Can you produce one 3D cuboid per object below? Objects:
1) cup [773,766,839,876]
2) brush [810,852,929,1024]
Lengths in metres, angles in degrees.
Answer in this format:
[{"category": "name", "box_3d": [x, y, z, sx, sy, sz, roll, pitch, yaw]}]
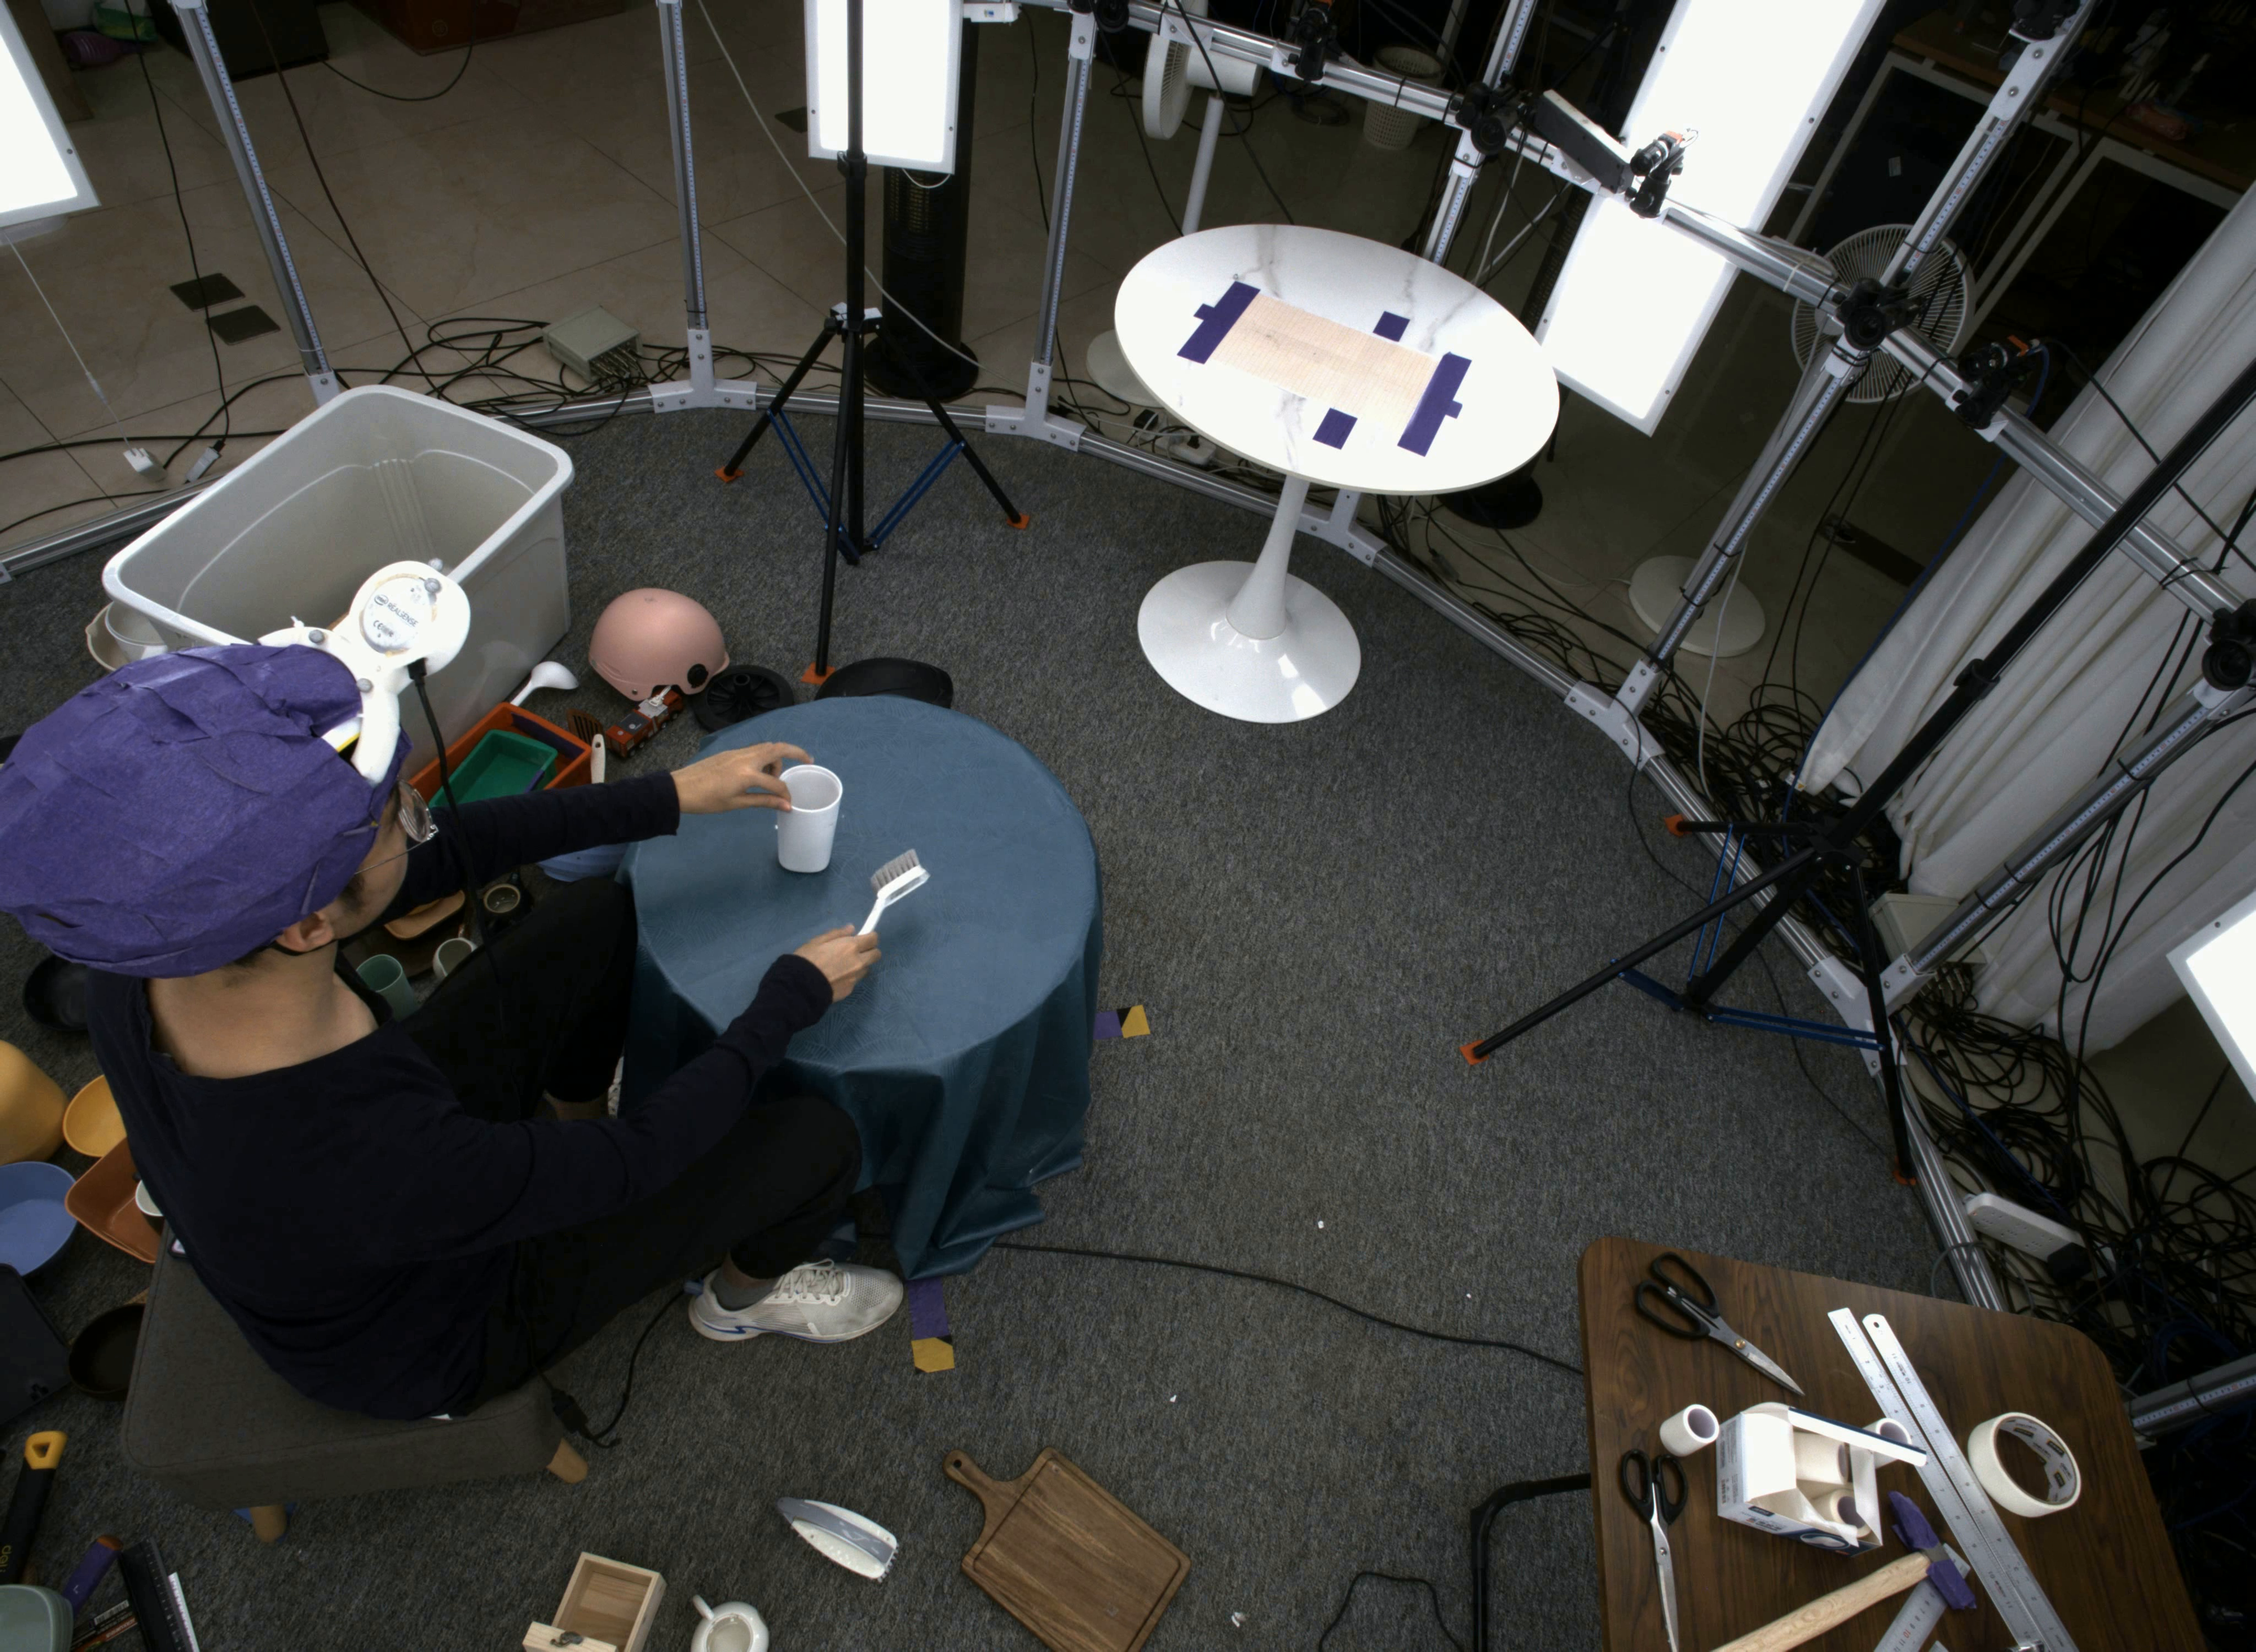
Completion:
[{"category": "cup", "box_3d": [-0.410, -0.004, 1.649, 0.081, 0.128, 0.080, 8, 47, -7]}, {"category": "brush", "box_3d": [-0.326, 0.130, 1.582, 0.049, 0.035, 0.243, 31, 65, 9]}]
